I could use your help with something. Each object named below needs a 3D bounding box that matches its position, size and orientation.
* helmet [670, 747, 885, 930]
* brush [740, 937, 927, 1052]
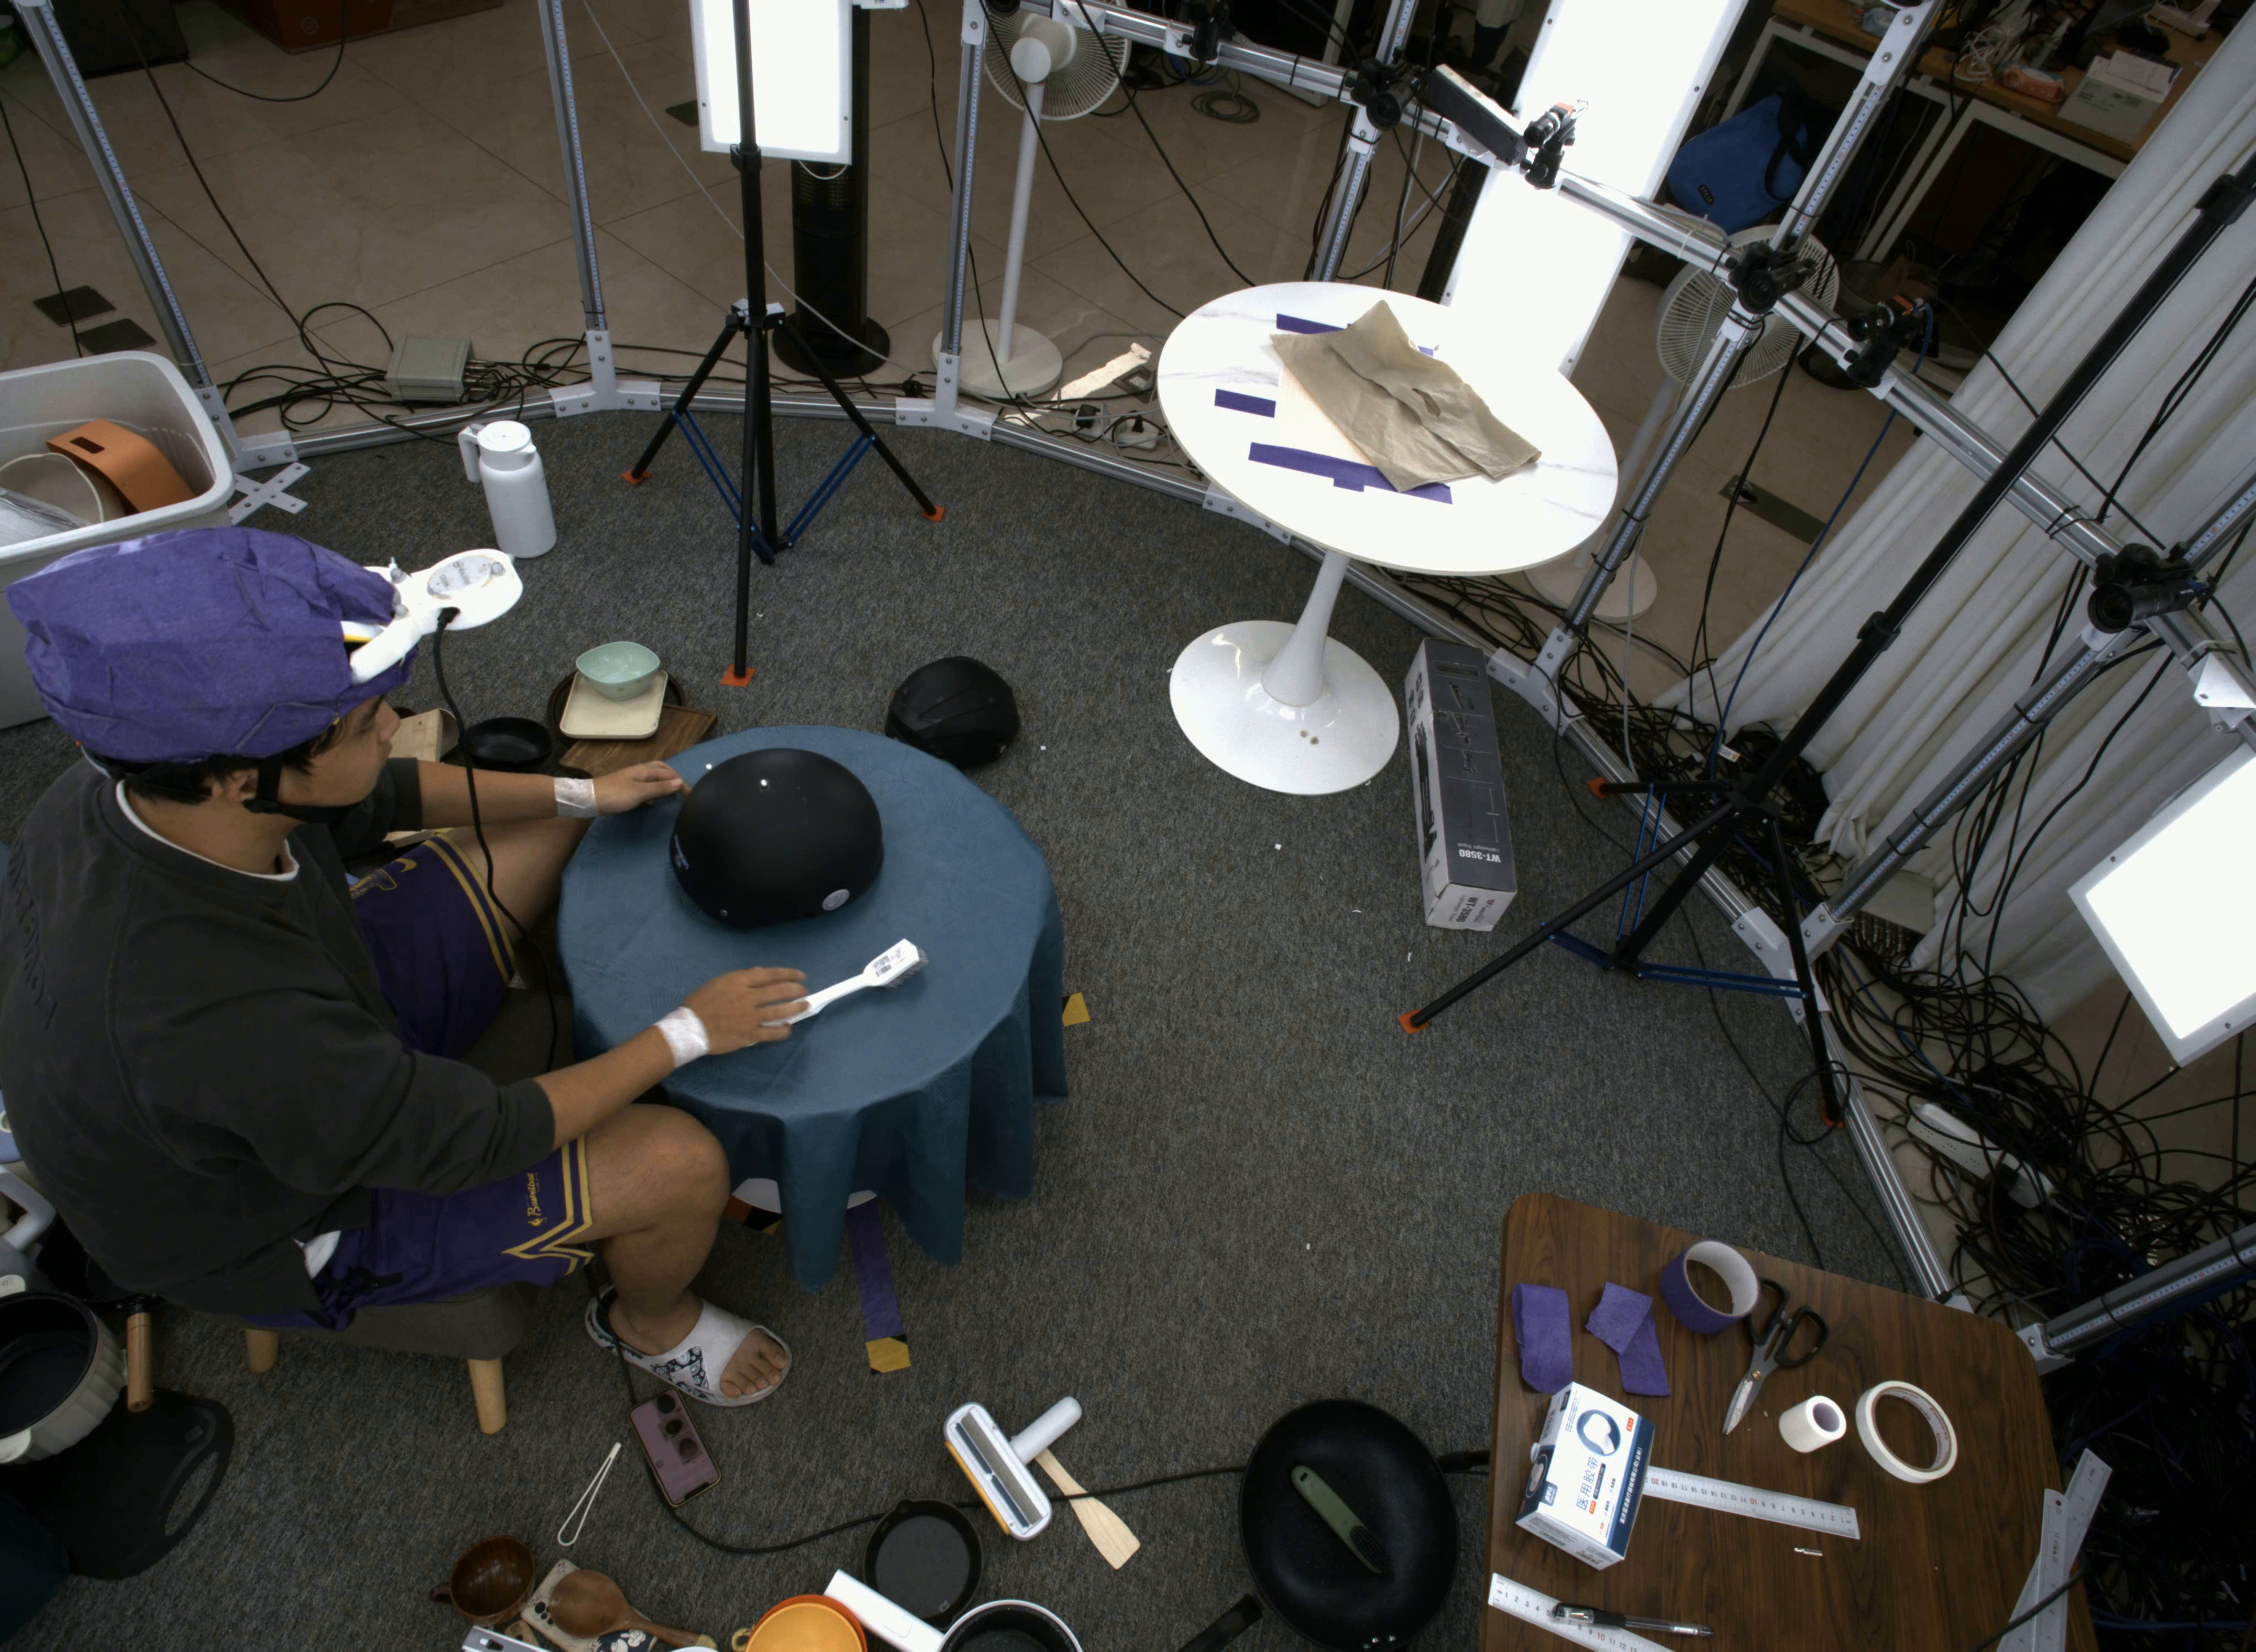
[{"bbox_3d":[-0.438,-0.005,1.627,0.275,0.169,0.225,-13,60,-24],"label":"helmet"},{"bbox_3d":[-0.356,0.208,1.576,0.243,0.051,0.033,-31,67,-16],"label":"brush"}]
